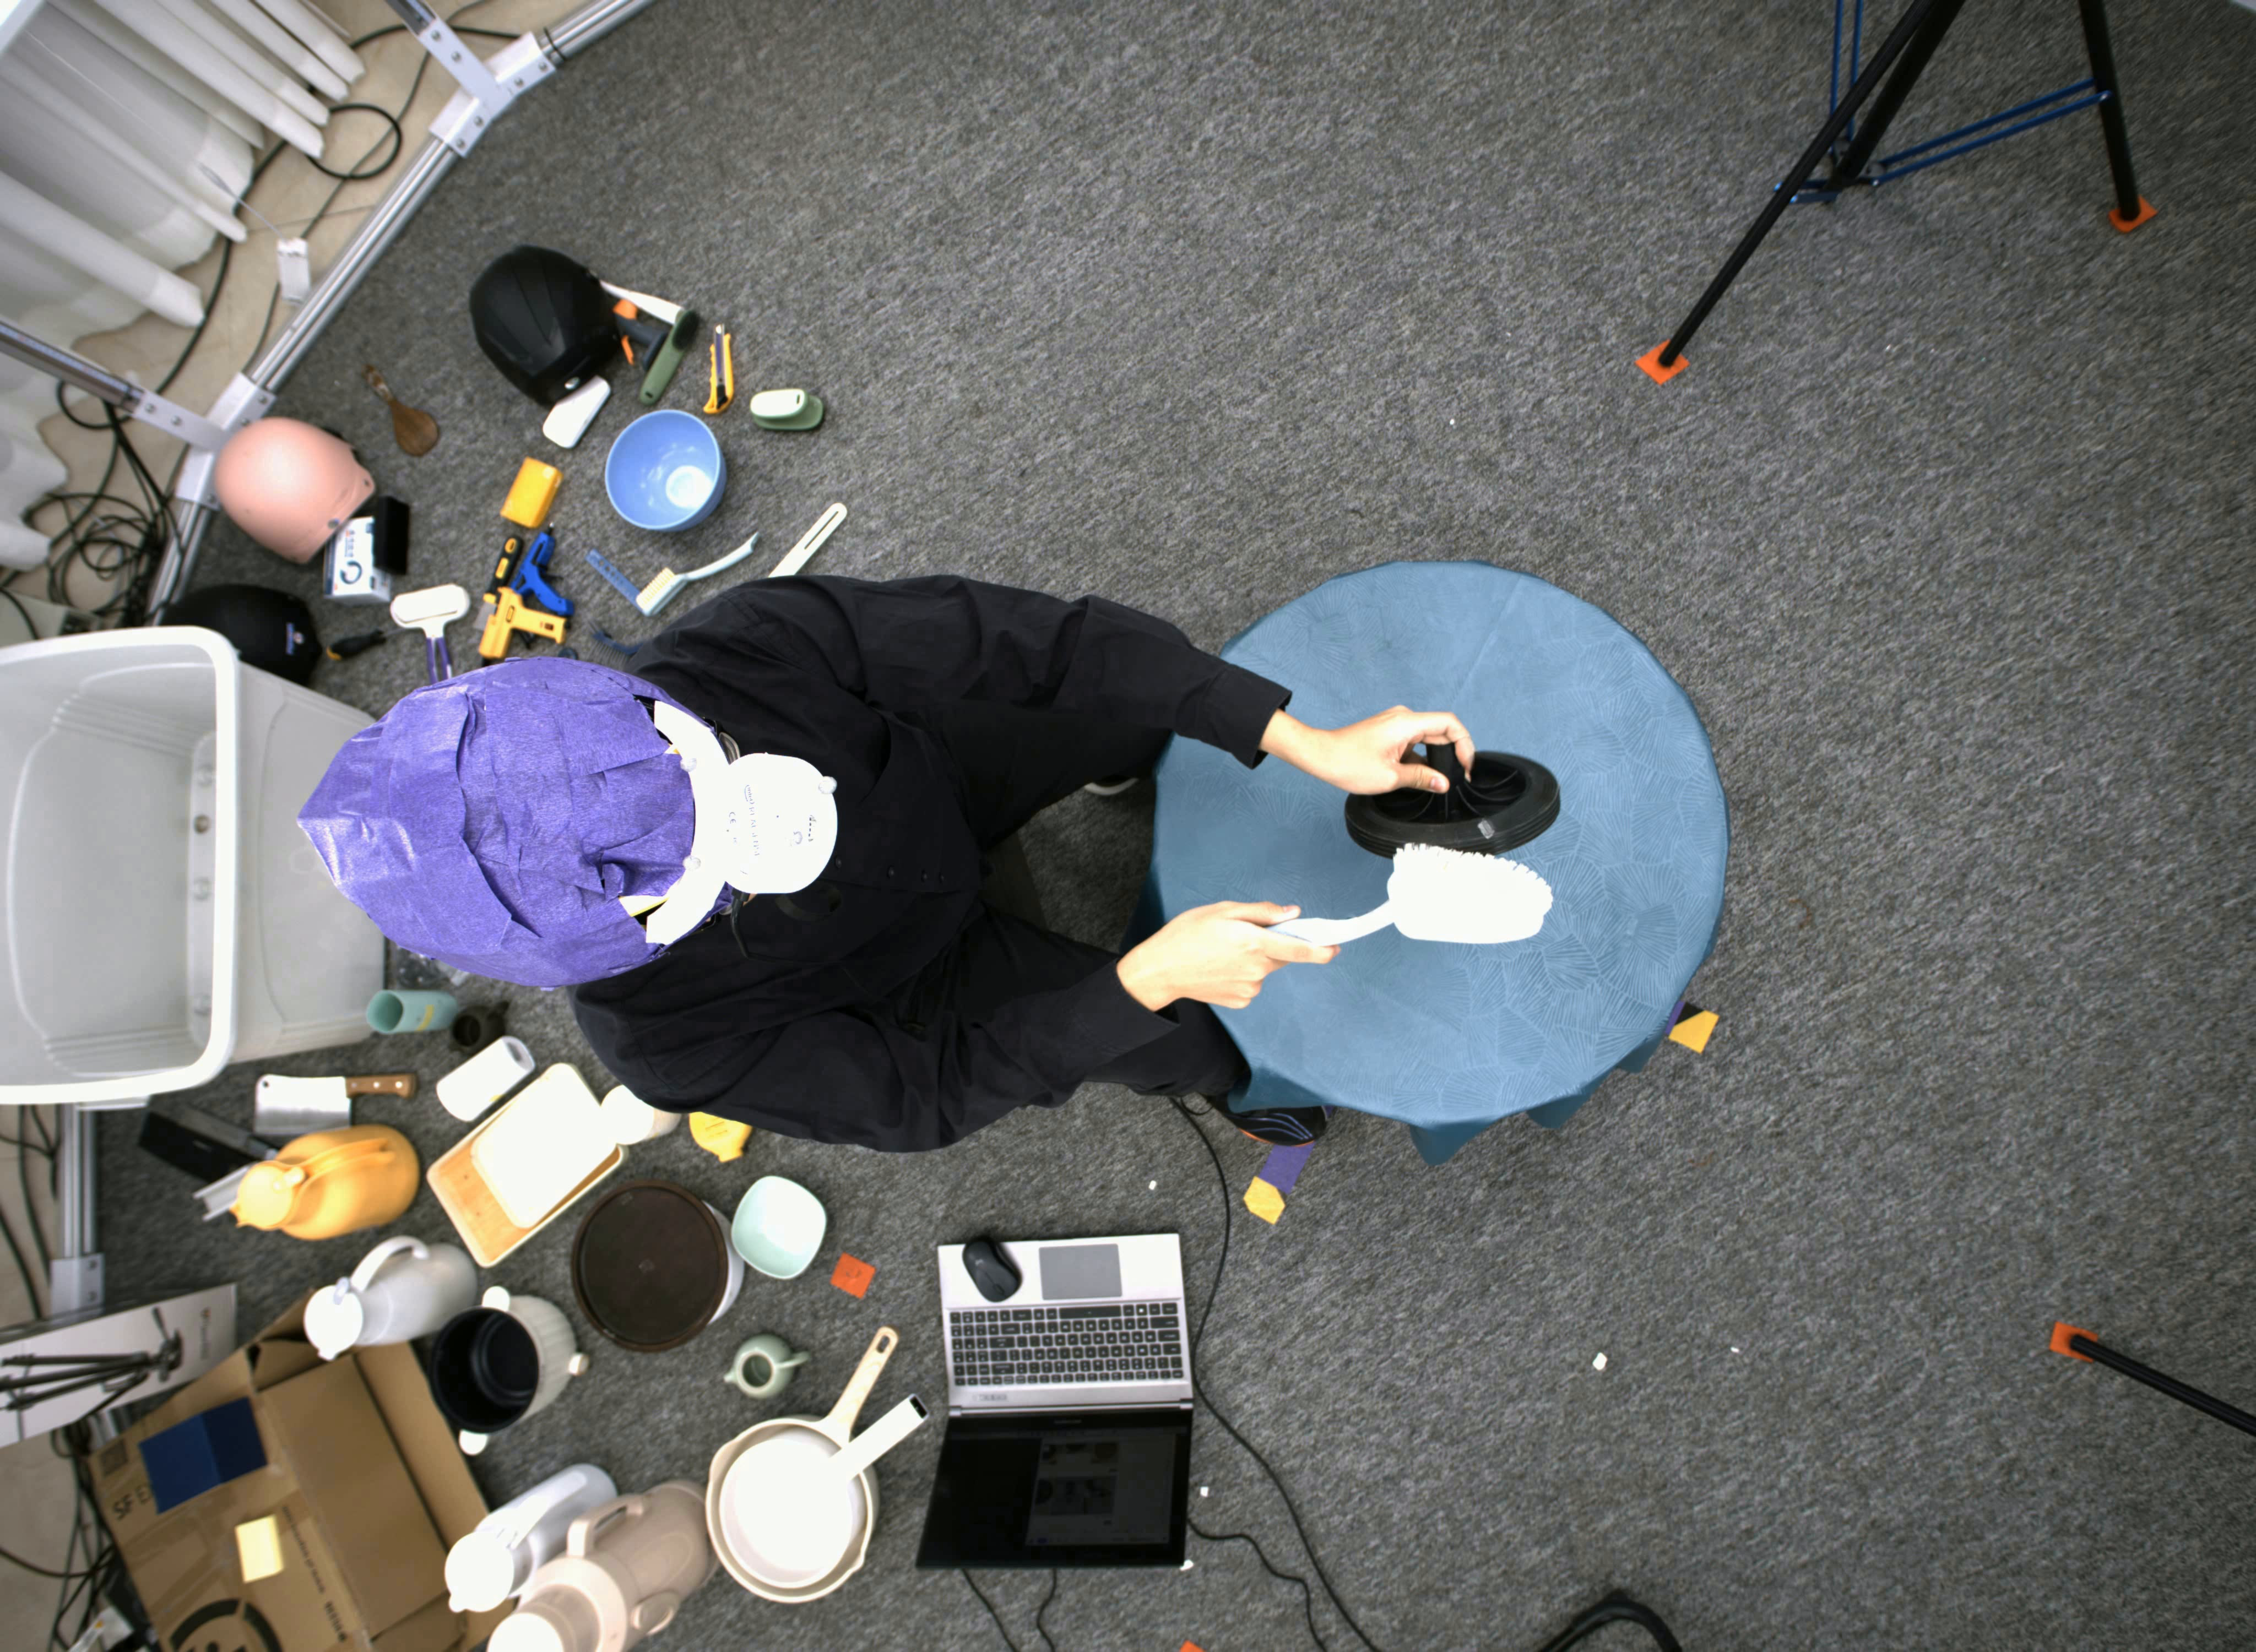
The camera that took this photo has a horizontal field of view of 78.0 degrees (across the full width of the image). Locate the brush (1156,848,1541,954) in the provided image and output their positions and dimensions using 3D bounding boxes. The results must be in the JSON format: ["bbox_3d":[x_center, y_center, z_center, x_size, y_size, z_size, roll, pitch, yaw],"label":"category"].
[{"bbox_3d":[0.182,0.062,1.170,0.328,0.084,0.083,-4,88,22],"label":"brush"}]

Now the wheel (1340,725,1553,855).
[{"bbox_3d":[0.279,-0.049,1.224,0.188,0.185,0.080,-24,118,-15],"label":"wheel"}]
